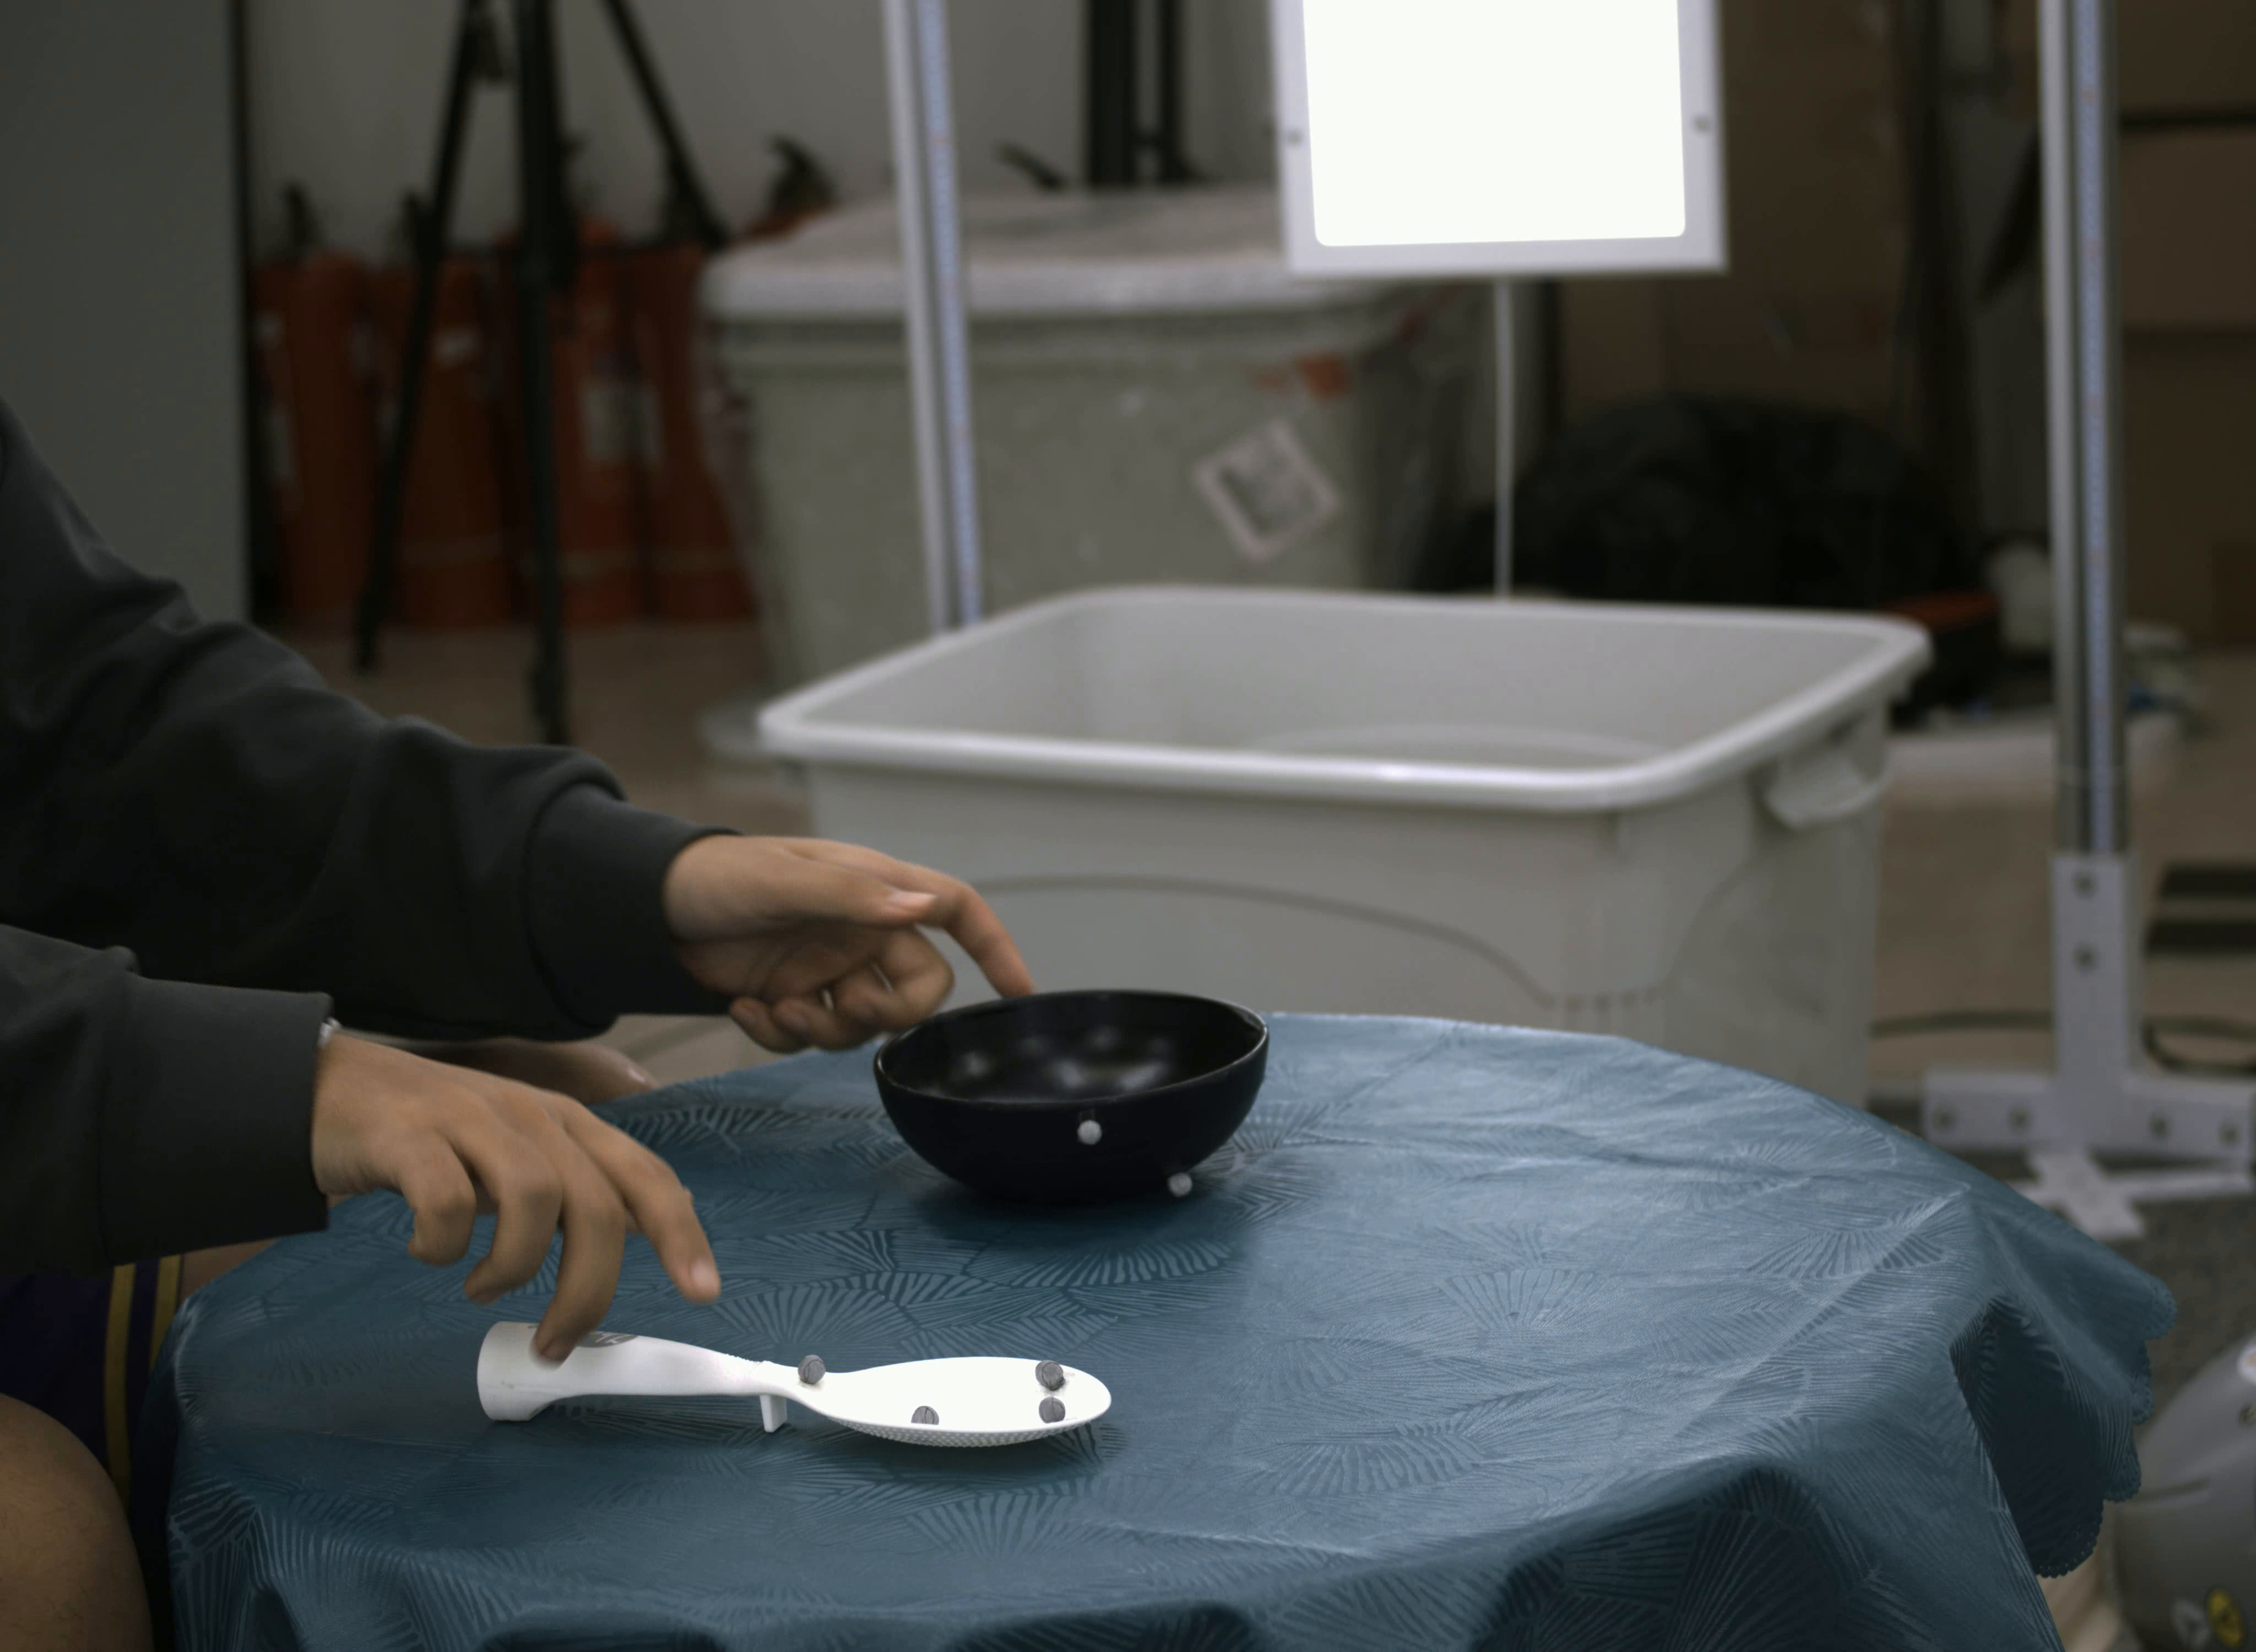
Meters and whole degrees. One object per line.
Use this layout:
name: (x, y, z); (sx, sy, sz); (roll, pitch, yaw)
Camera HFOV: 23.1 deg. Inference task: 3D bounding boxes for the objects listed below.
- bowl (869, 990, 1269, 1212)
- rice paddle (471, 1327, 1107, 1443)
bowl: (-0.019, 0.100, 1.914); (0.140, 0.050, 0.140); (-6, 14, 0)
rice paddle: (-0.103, 0.171, 1.692); (0.208, 0.029, 0.067); (0, 13, 22)
